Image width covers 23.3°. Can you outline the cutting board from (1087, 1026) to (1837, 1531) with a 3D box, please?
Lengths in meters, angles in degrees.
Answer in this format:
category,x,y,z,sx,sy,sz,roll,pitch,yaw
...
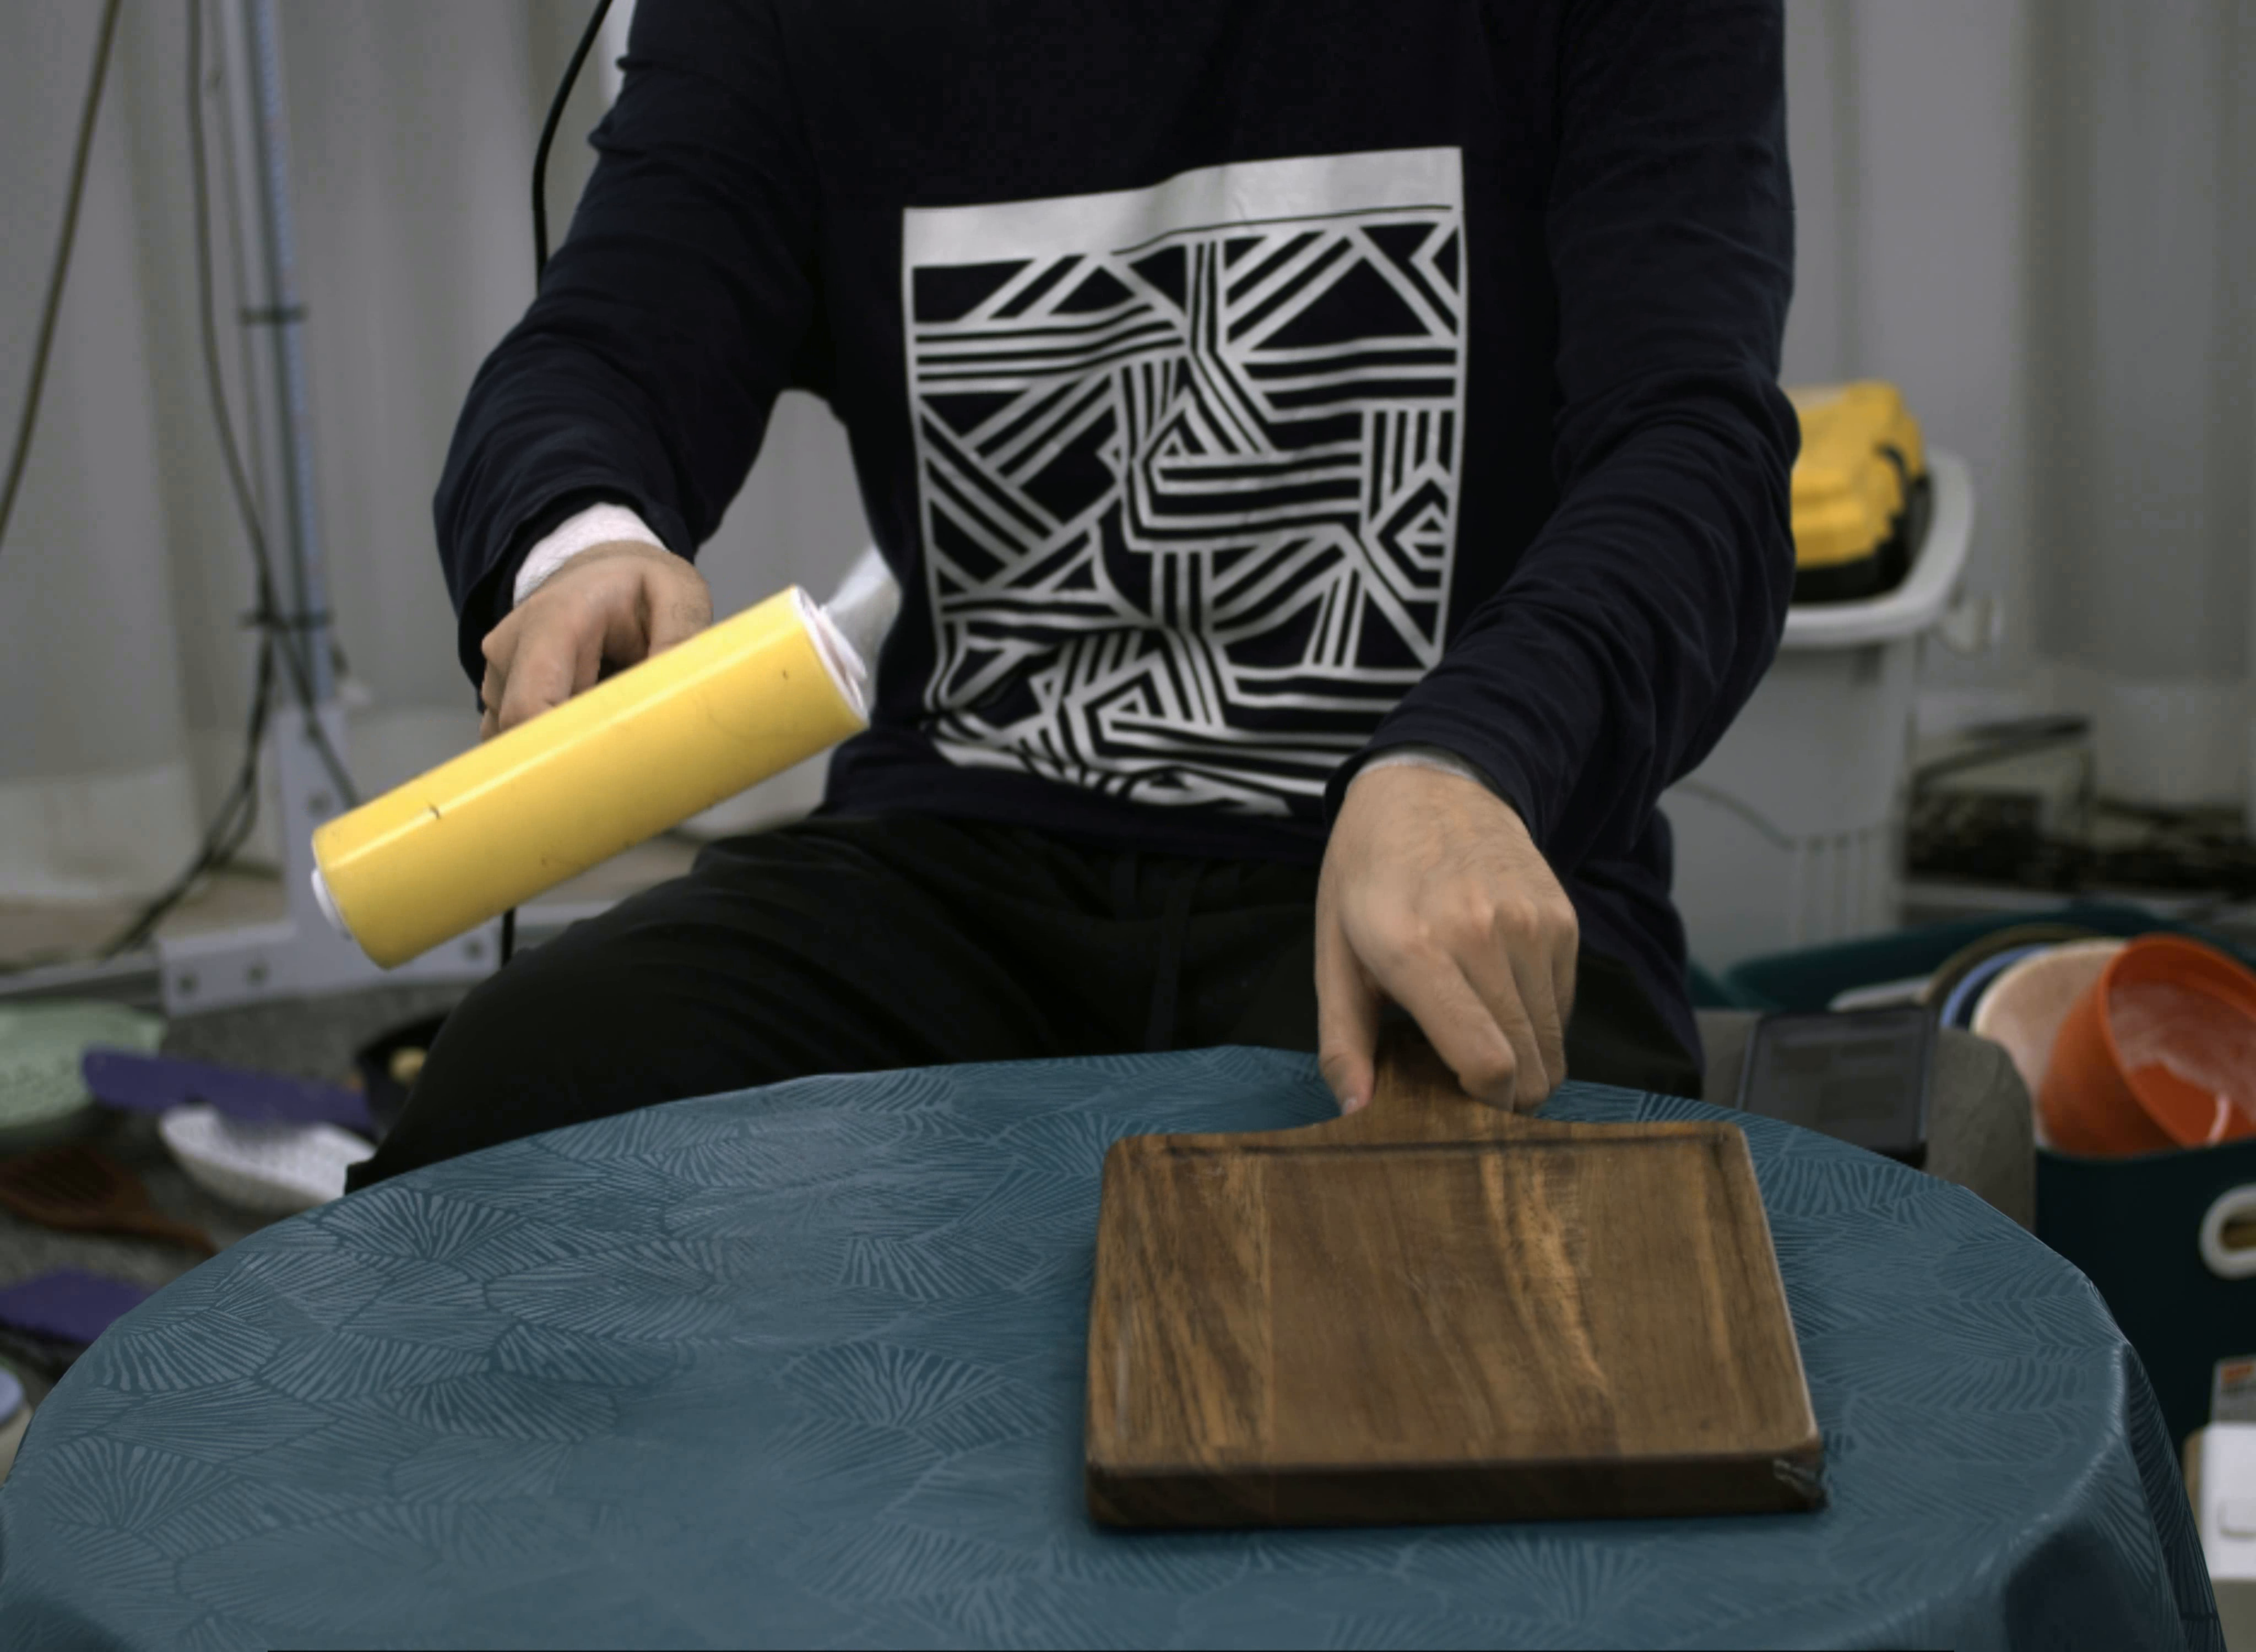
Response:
category,x,y,z,sx,sy,sz,roll,pitch,yaw
cutting board,0.089,0.124,1.599,0.200,0.023,0.355,-2,16,1

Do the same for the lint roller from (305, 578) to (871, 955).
category,x,y,z,sx,sy,sz,roll,pitch,yaw
lint roller,-0.165,-0.037,1.671,0.174,0.051,0.194,-27,19,3
